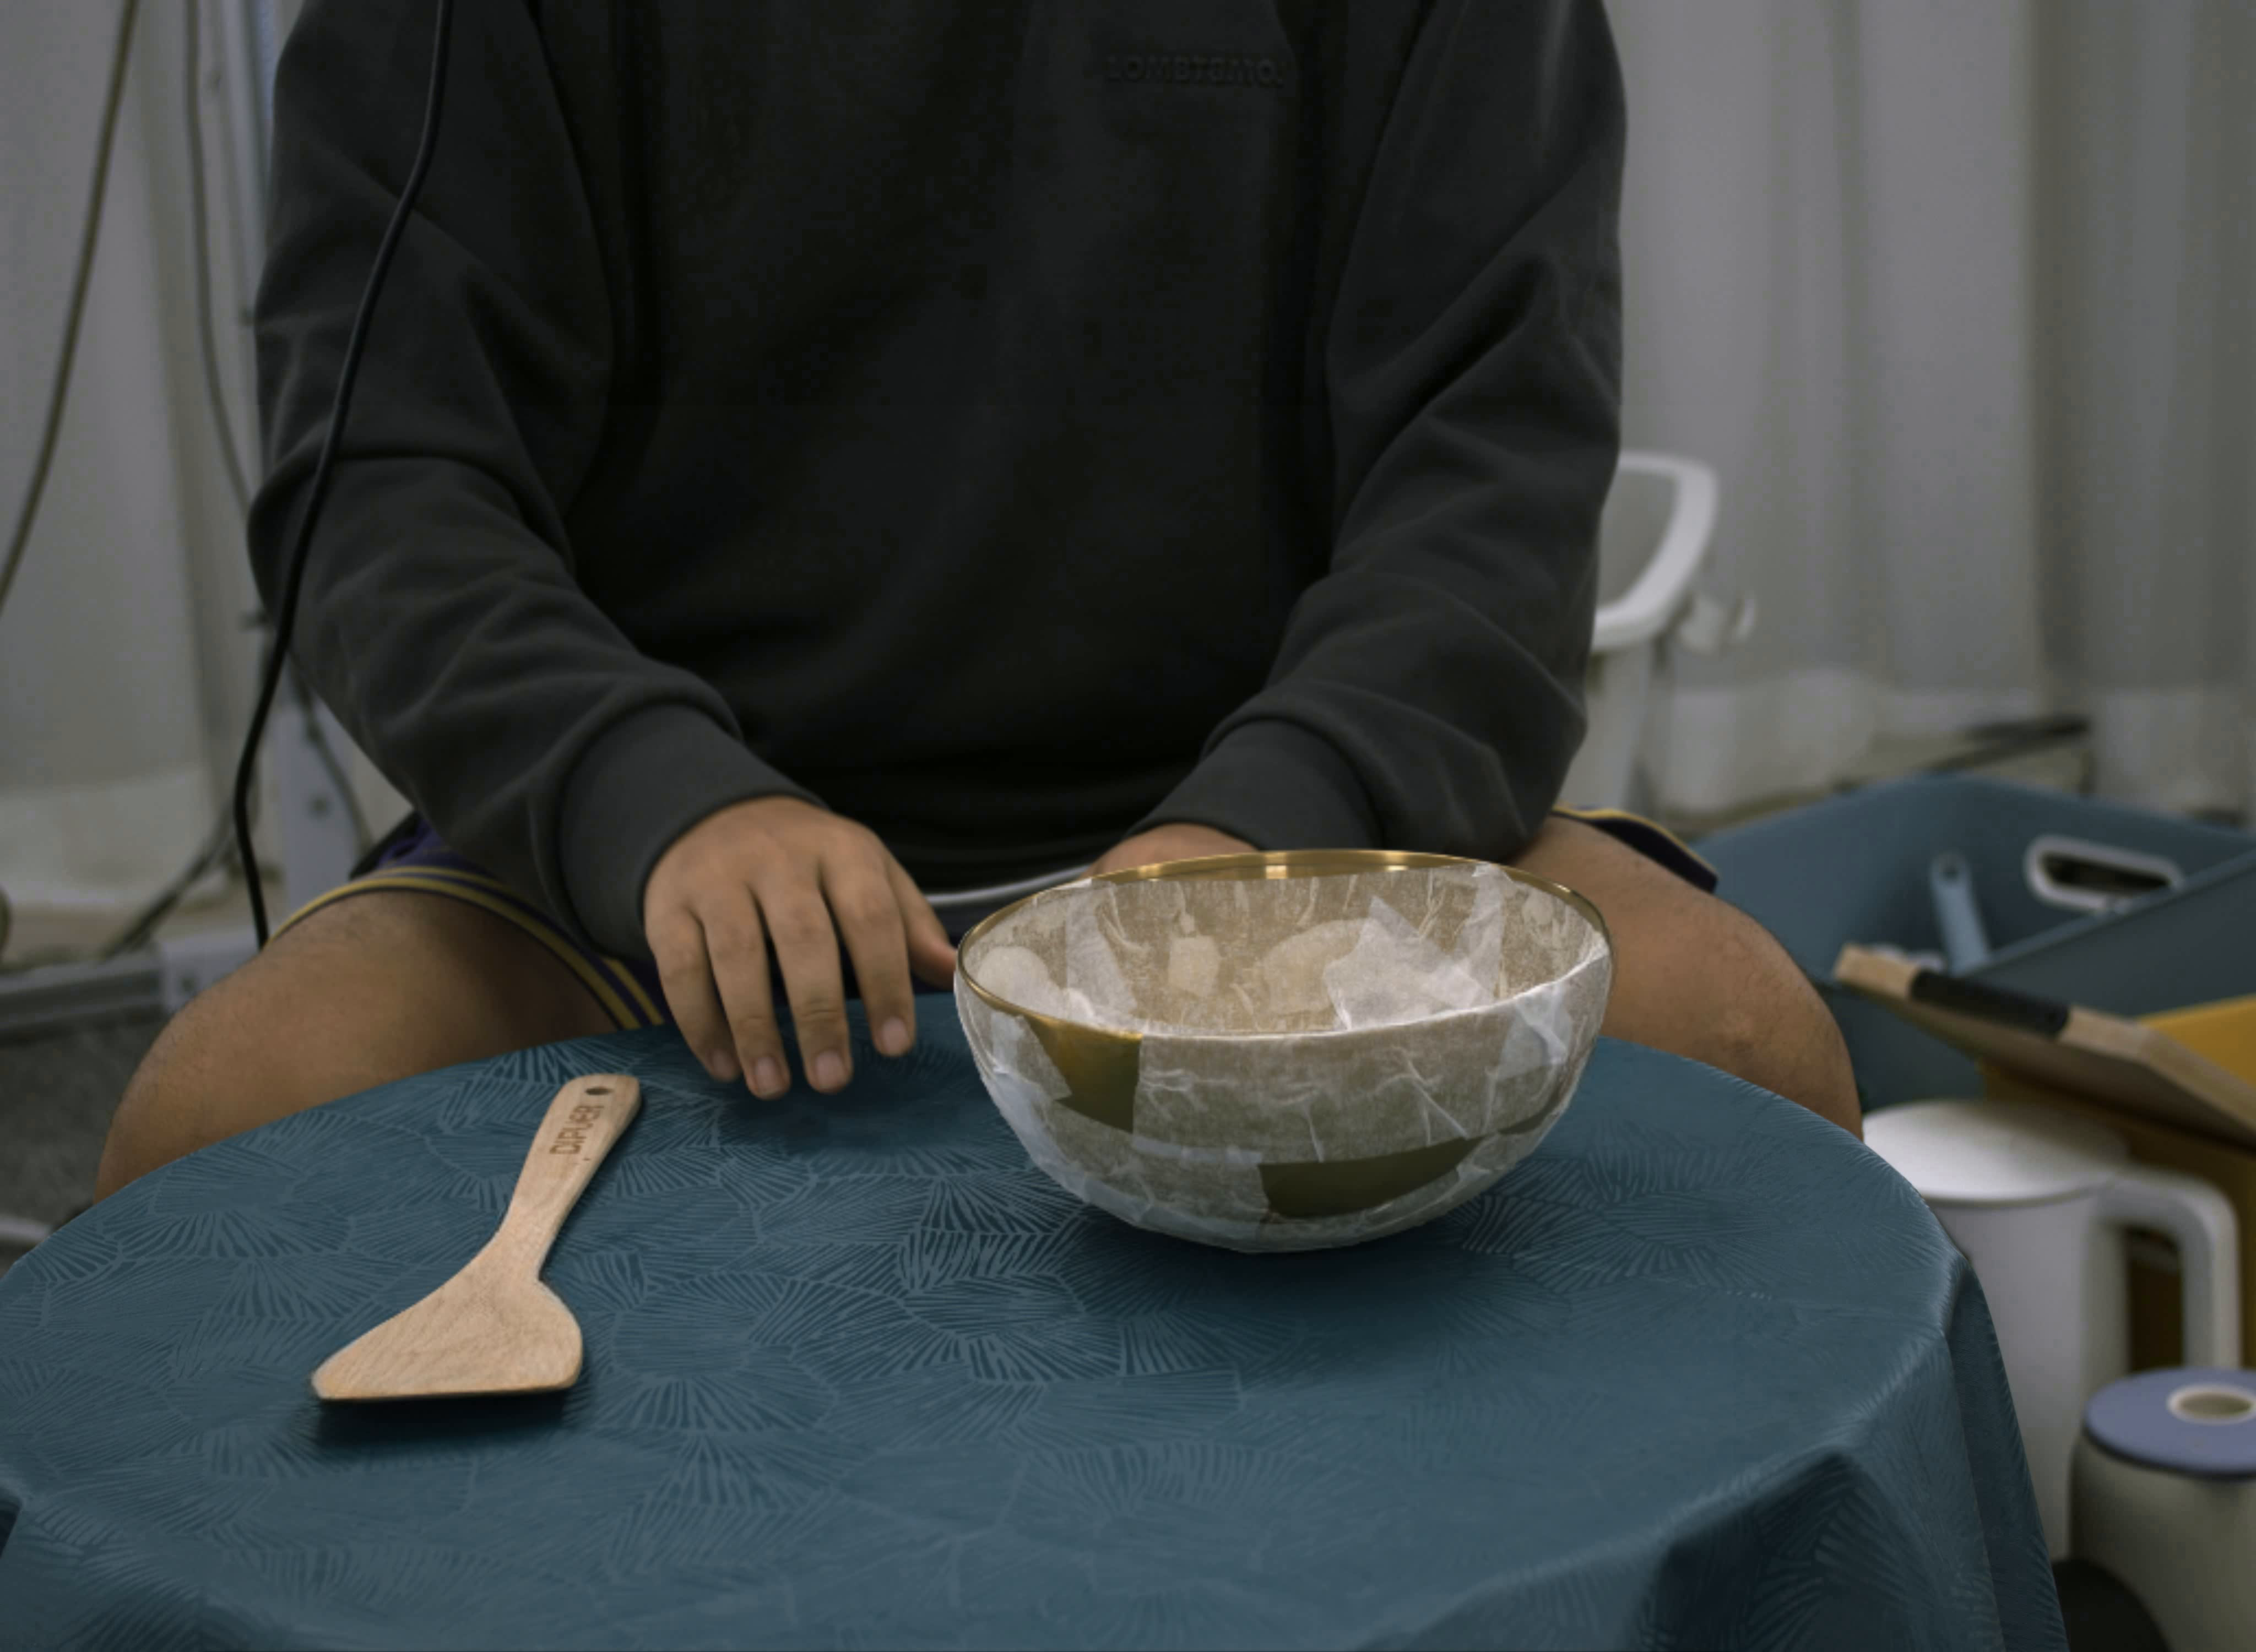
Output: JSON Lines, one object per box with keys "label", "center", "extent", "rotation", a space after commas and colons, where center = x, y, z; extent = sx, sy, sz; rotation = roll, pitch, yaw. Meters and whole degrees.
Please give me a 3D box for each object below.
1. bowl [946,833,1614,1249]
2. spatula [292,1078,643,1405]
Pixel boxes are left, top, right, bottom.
{"label": "bowl", "center": [0.049, 0.073, 1.676], "extent": [0.214, 0.094, 0.216], "rotation": [-3, 16, 1]}
{"label": "spatula", "center": [-0.185, 0.125, 1.684], "extent": [0.080, 0.016, 0.329], "rotation": [-2, 15, 5]}
